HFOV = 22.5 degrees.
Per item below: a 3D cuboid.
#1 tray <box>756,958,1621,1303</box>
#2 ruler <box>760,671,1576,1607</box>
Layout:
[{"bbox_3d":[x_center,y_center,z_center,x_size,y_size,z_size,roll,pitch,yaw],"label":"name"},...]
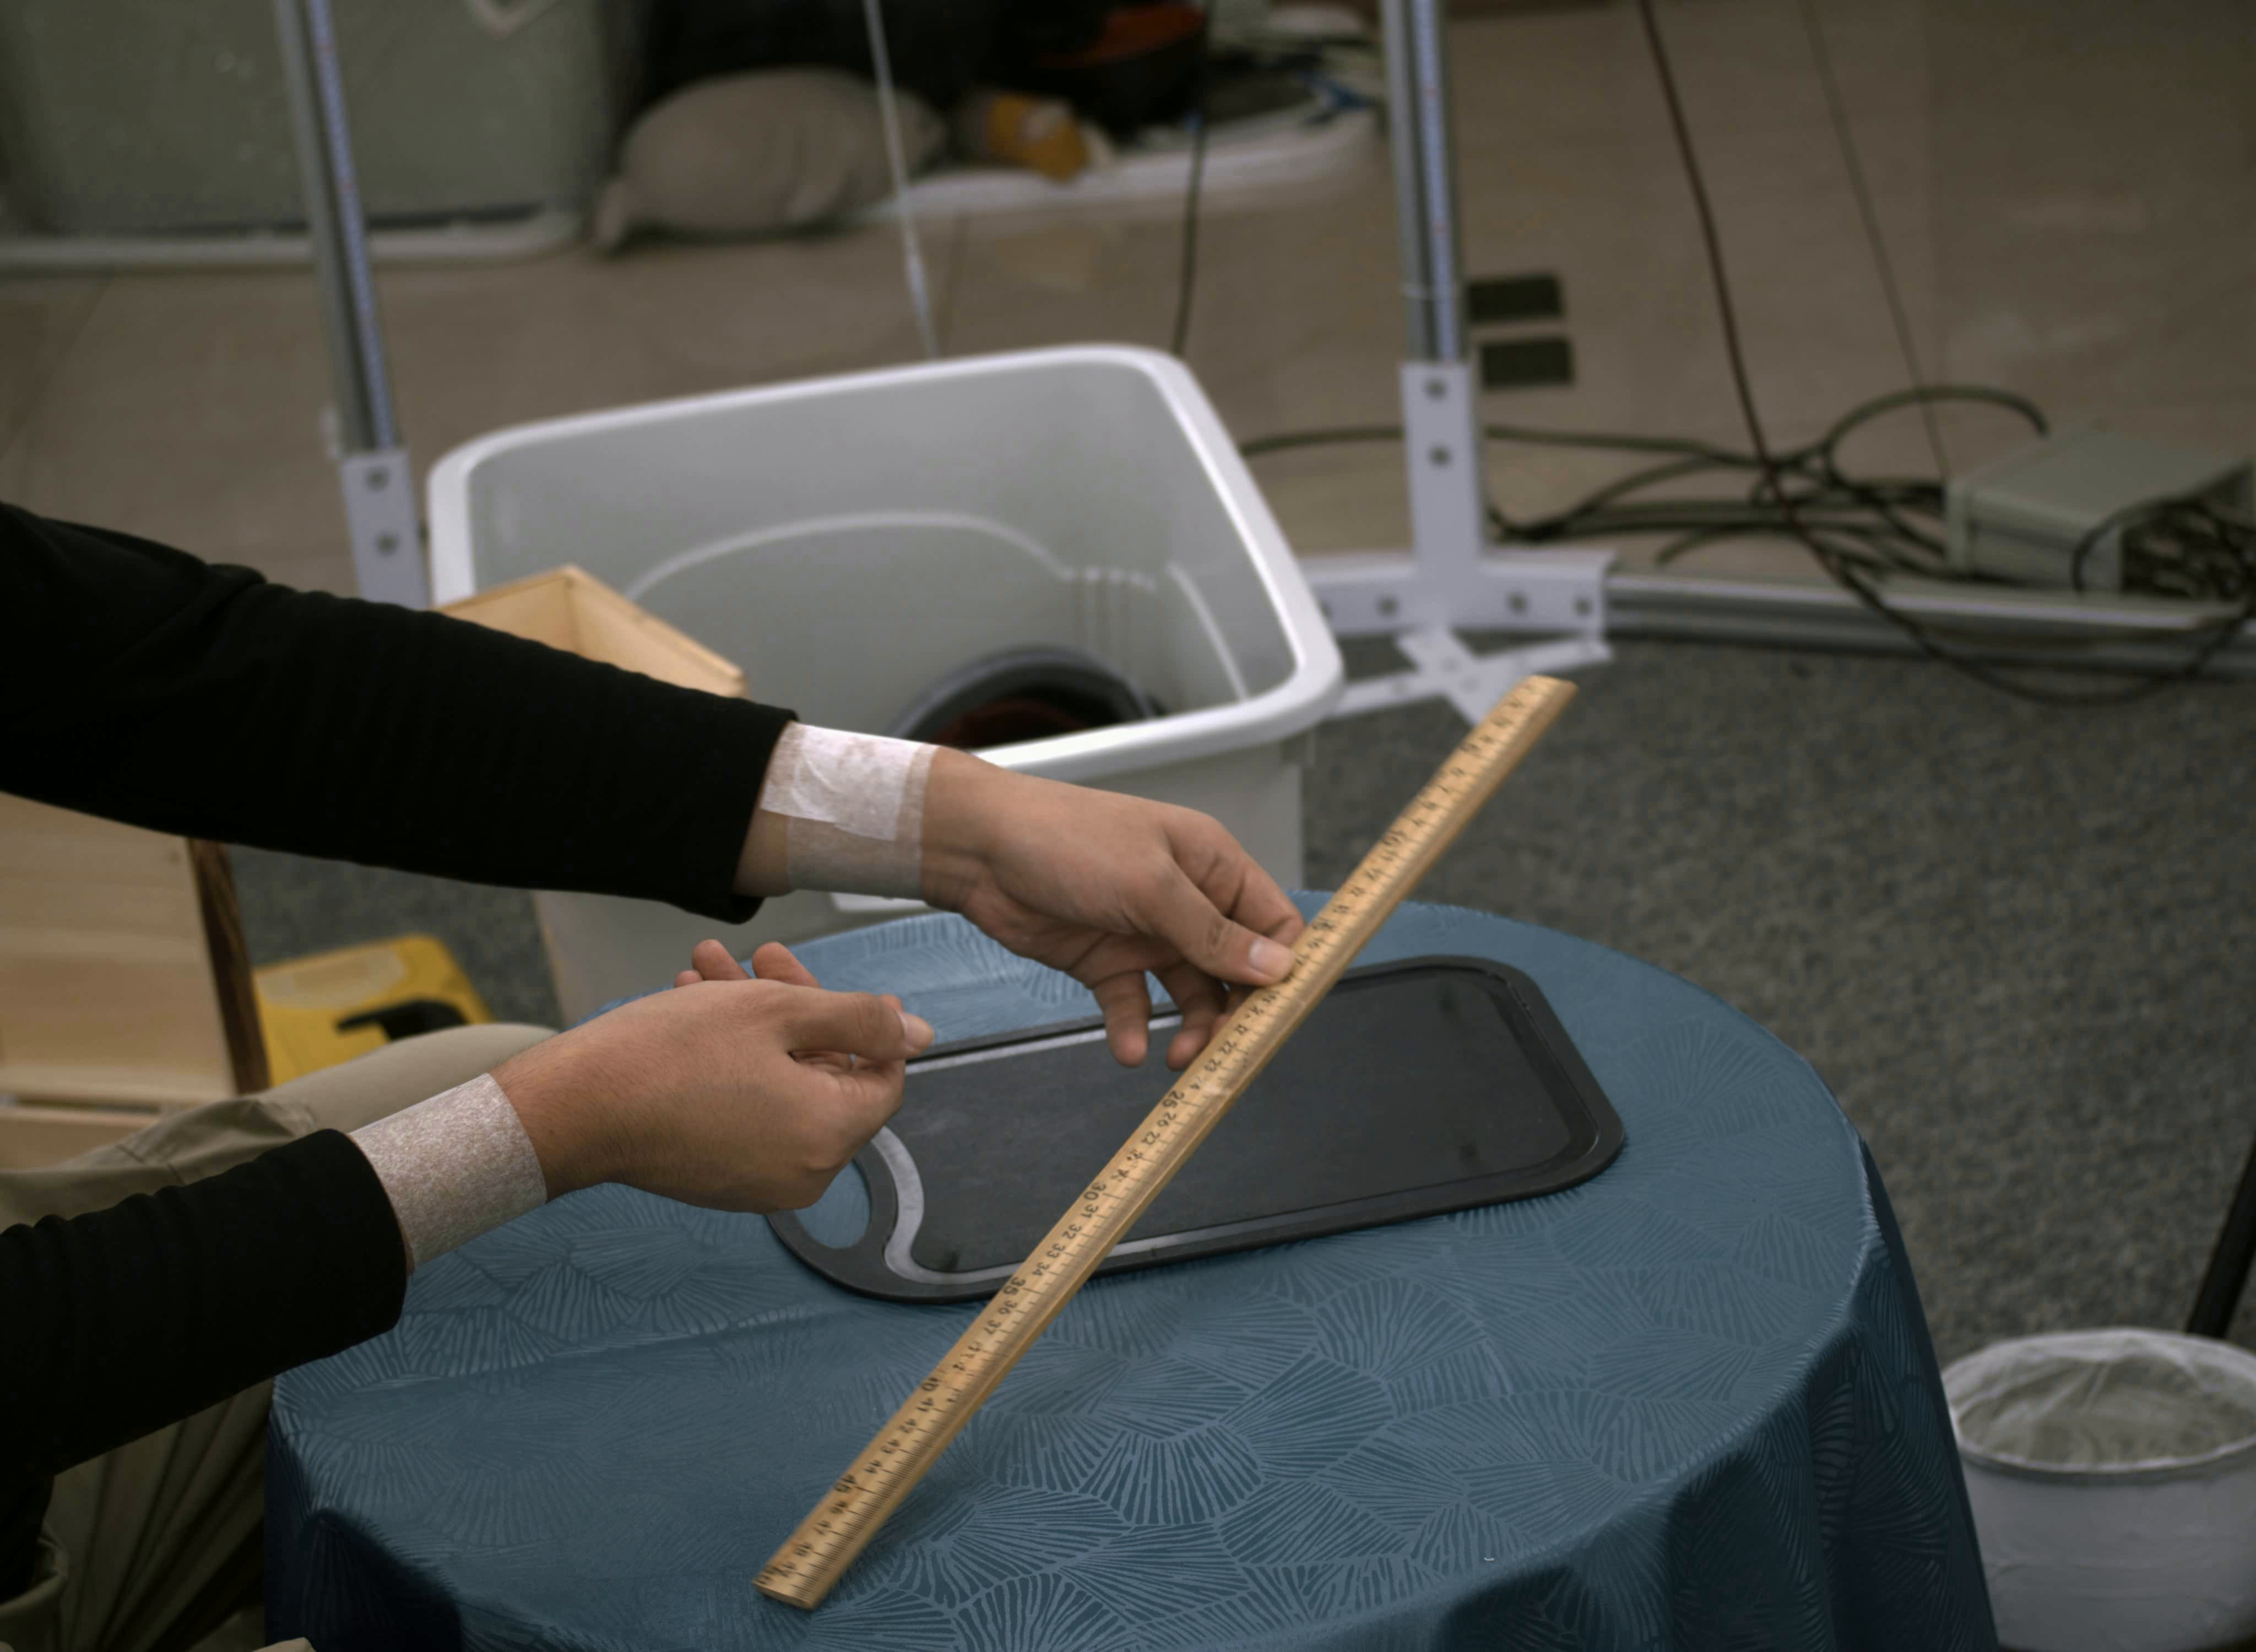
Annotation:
[{"bbox_3d":[0.018,0.115,2.187,0.325,0.010,0.208,-10,25,-7],"label":"tray"},{"bbox_3d":[0.022,0.101,2.040,0.026,0.006,0.494,13,49,38],"label":"ruler"}]
